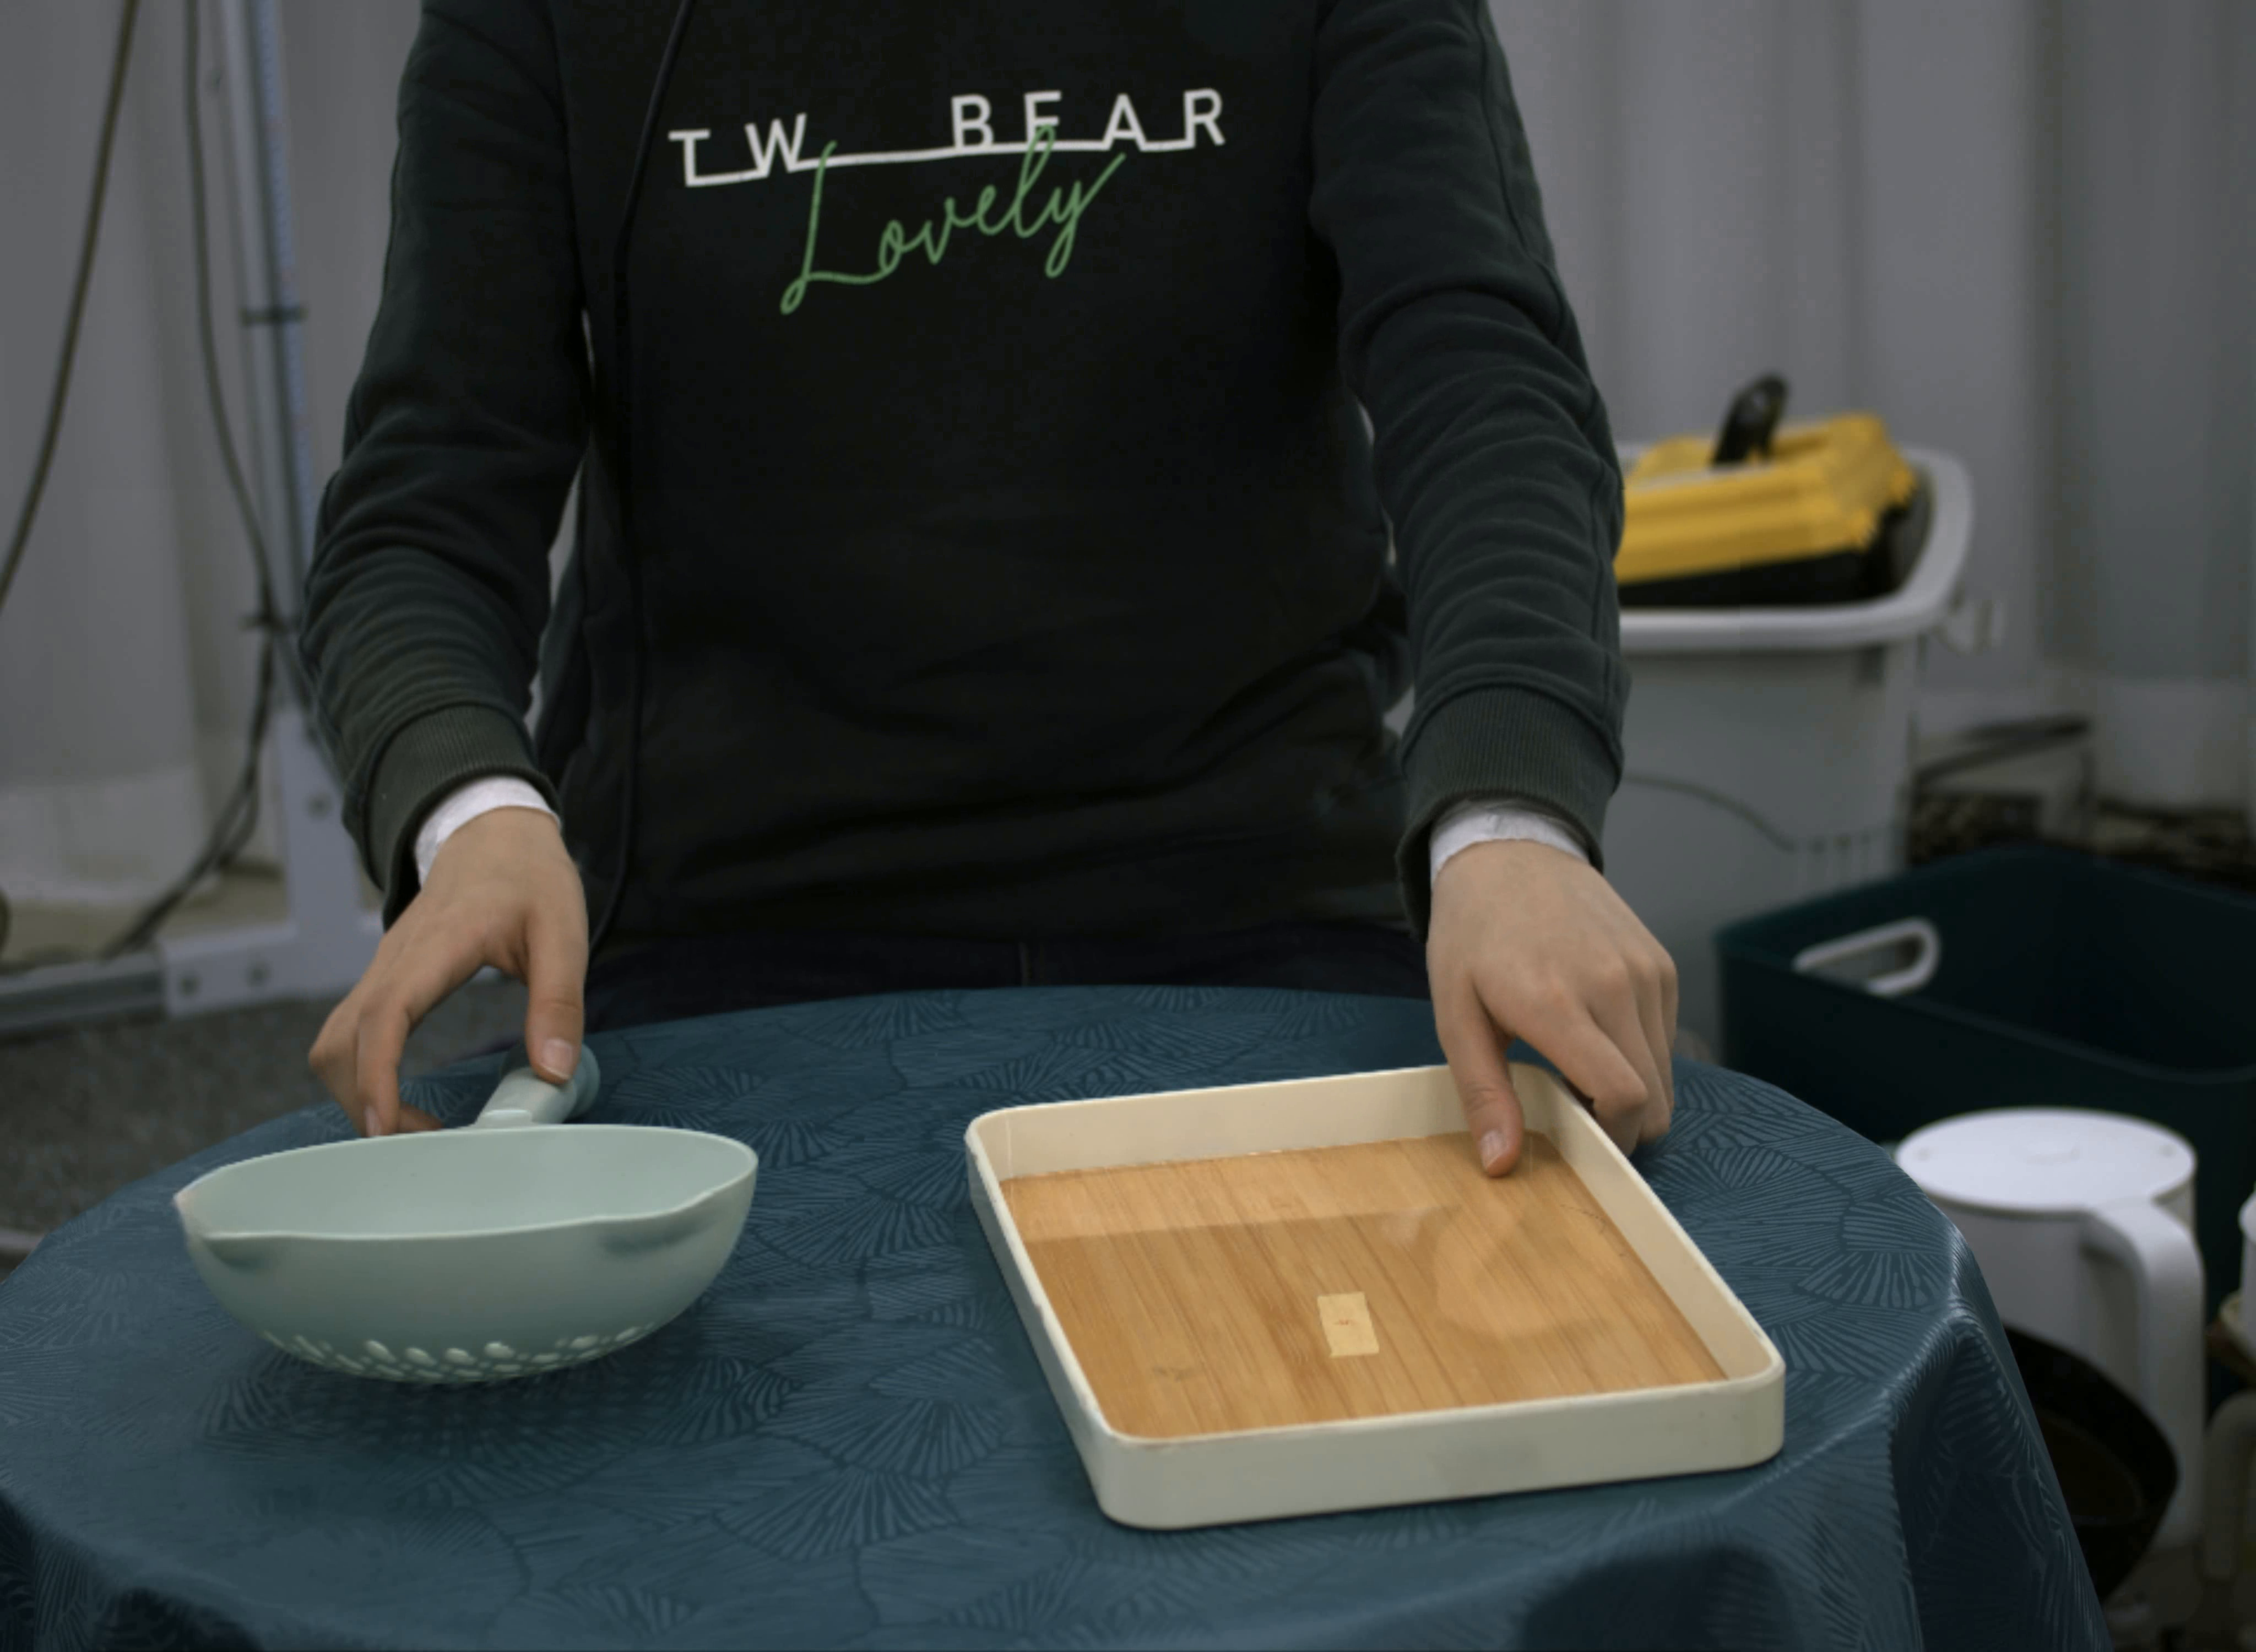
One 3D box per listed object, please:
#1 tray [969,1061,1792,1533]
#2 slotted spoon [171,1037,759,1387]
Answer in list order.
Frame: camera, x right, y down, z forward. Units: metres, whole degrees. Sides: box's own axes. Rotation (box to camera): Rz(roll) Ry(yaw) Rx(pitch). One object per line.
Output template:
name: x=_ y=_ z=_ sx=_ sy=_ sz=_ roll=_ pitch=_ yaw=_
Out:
tray: x=0.065 y=0.132 z=1.589 sx=0.191 sy=0.027 sz=0.302 roll=-5 pitch=15 yaw=-8
slotted spoon: x=-0.190 y=0.102 z=1.675 sx=0.169 sy=0.075 sz=0.361 roll=-2 pitch=15 yaw=0
